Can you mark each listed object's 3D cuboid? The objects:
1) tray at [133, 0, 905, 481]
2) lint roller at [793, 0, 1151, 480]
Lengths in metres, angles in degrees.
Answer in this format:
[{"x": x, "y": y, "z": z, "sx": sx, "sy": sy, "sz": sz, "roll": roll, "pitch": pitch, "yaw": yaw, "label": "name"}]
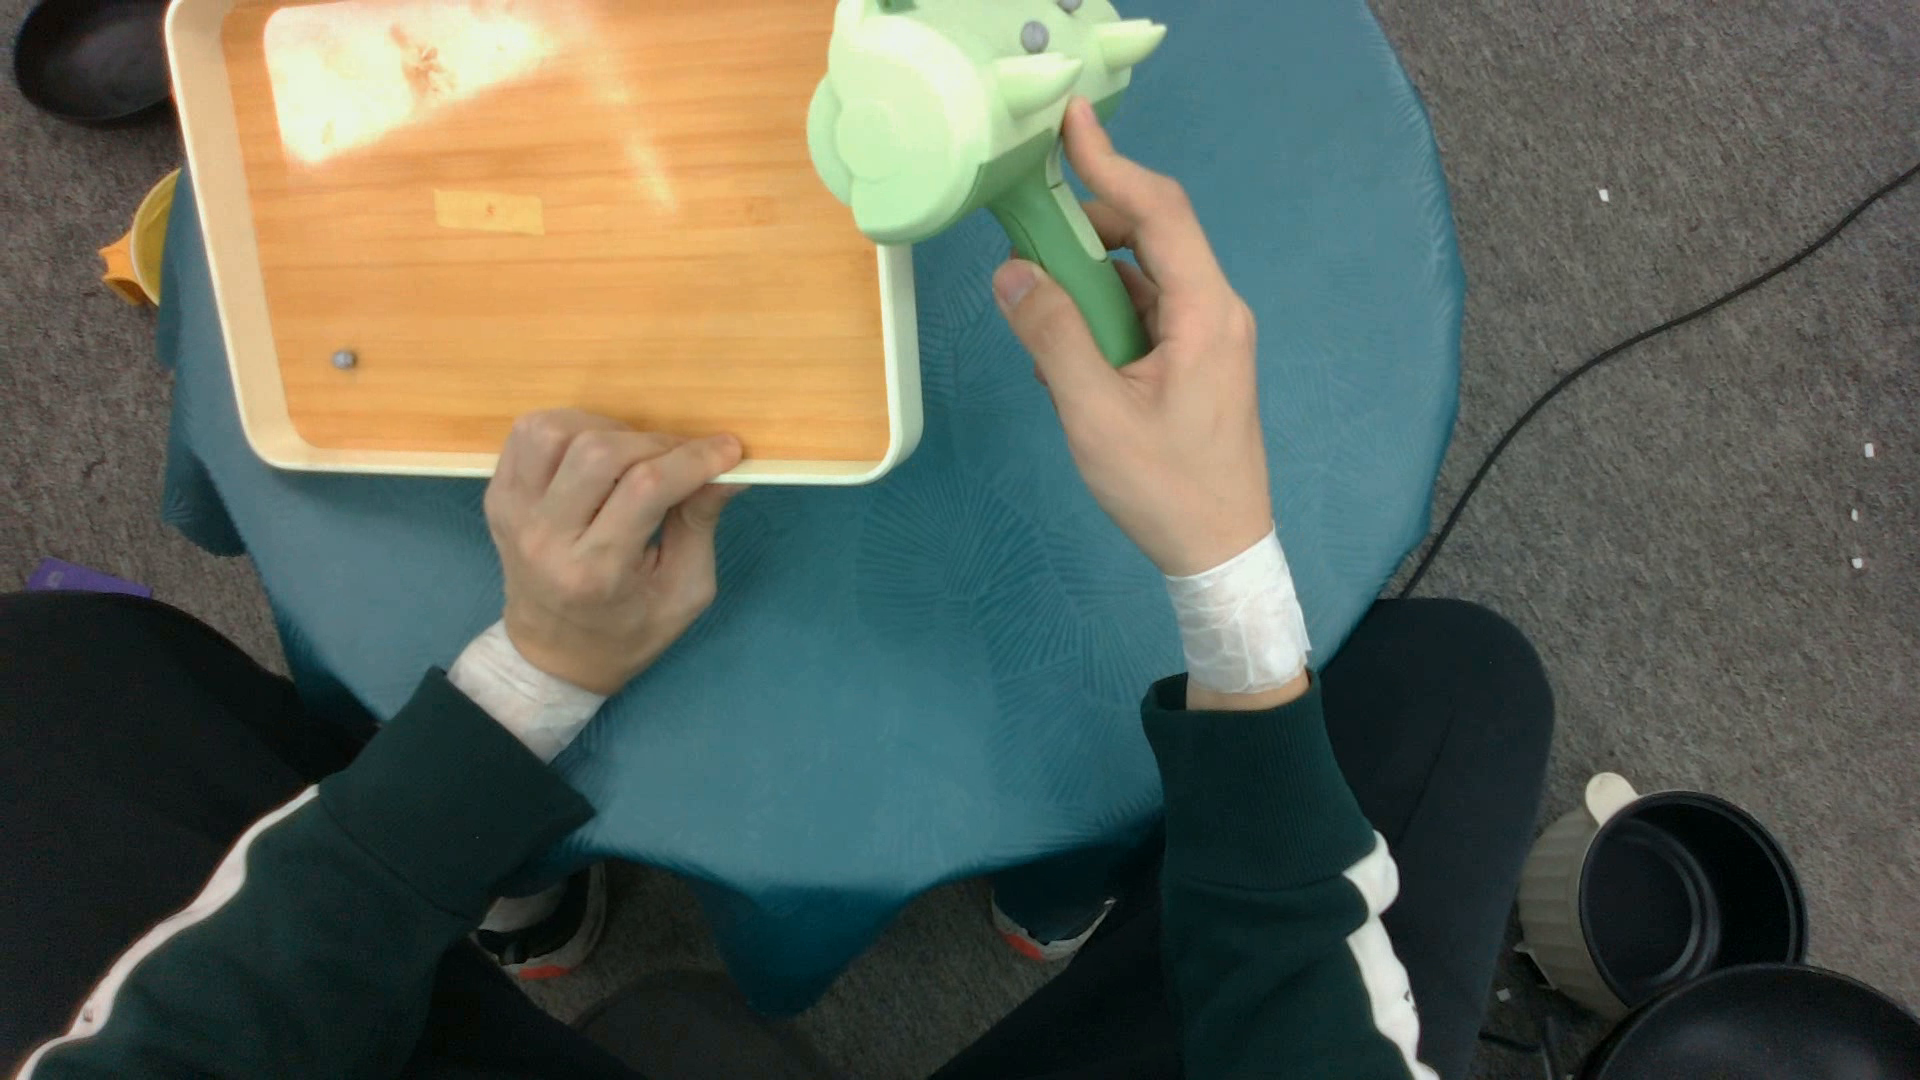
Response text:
[{"x": -0.170, "y": -0.118, "z": 0.518, "sx": 0.300, "sy": 0.027, "sz": 0.191, "roll": 1, "pitch": 107, "yaw": 19, "label": "tray"}, {"x": 0.038, "y": -0.111, "z": 0.474, "sx": 0.082, "sy": 0.199, "sz": 0.183, "roll": -29, "pitch": 102, "yaw": 27, "label": "lint roller"}]
